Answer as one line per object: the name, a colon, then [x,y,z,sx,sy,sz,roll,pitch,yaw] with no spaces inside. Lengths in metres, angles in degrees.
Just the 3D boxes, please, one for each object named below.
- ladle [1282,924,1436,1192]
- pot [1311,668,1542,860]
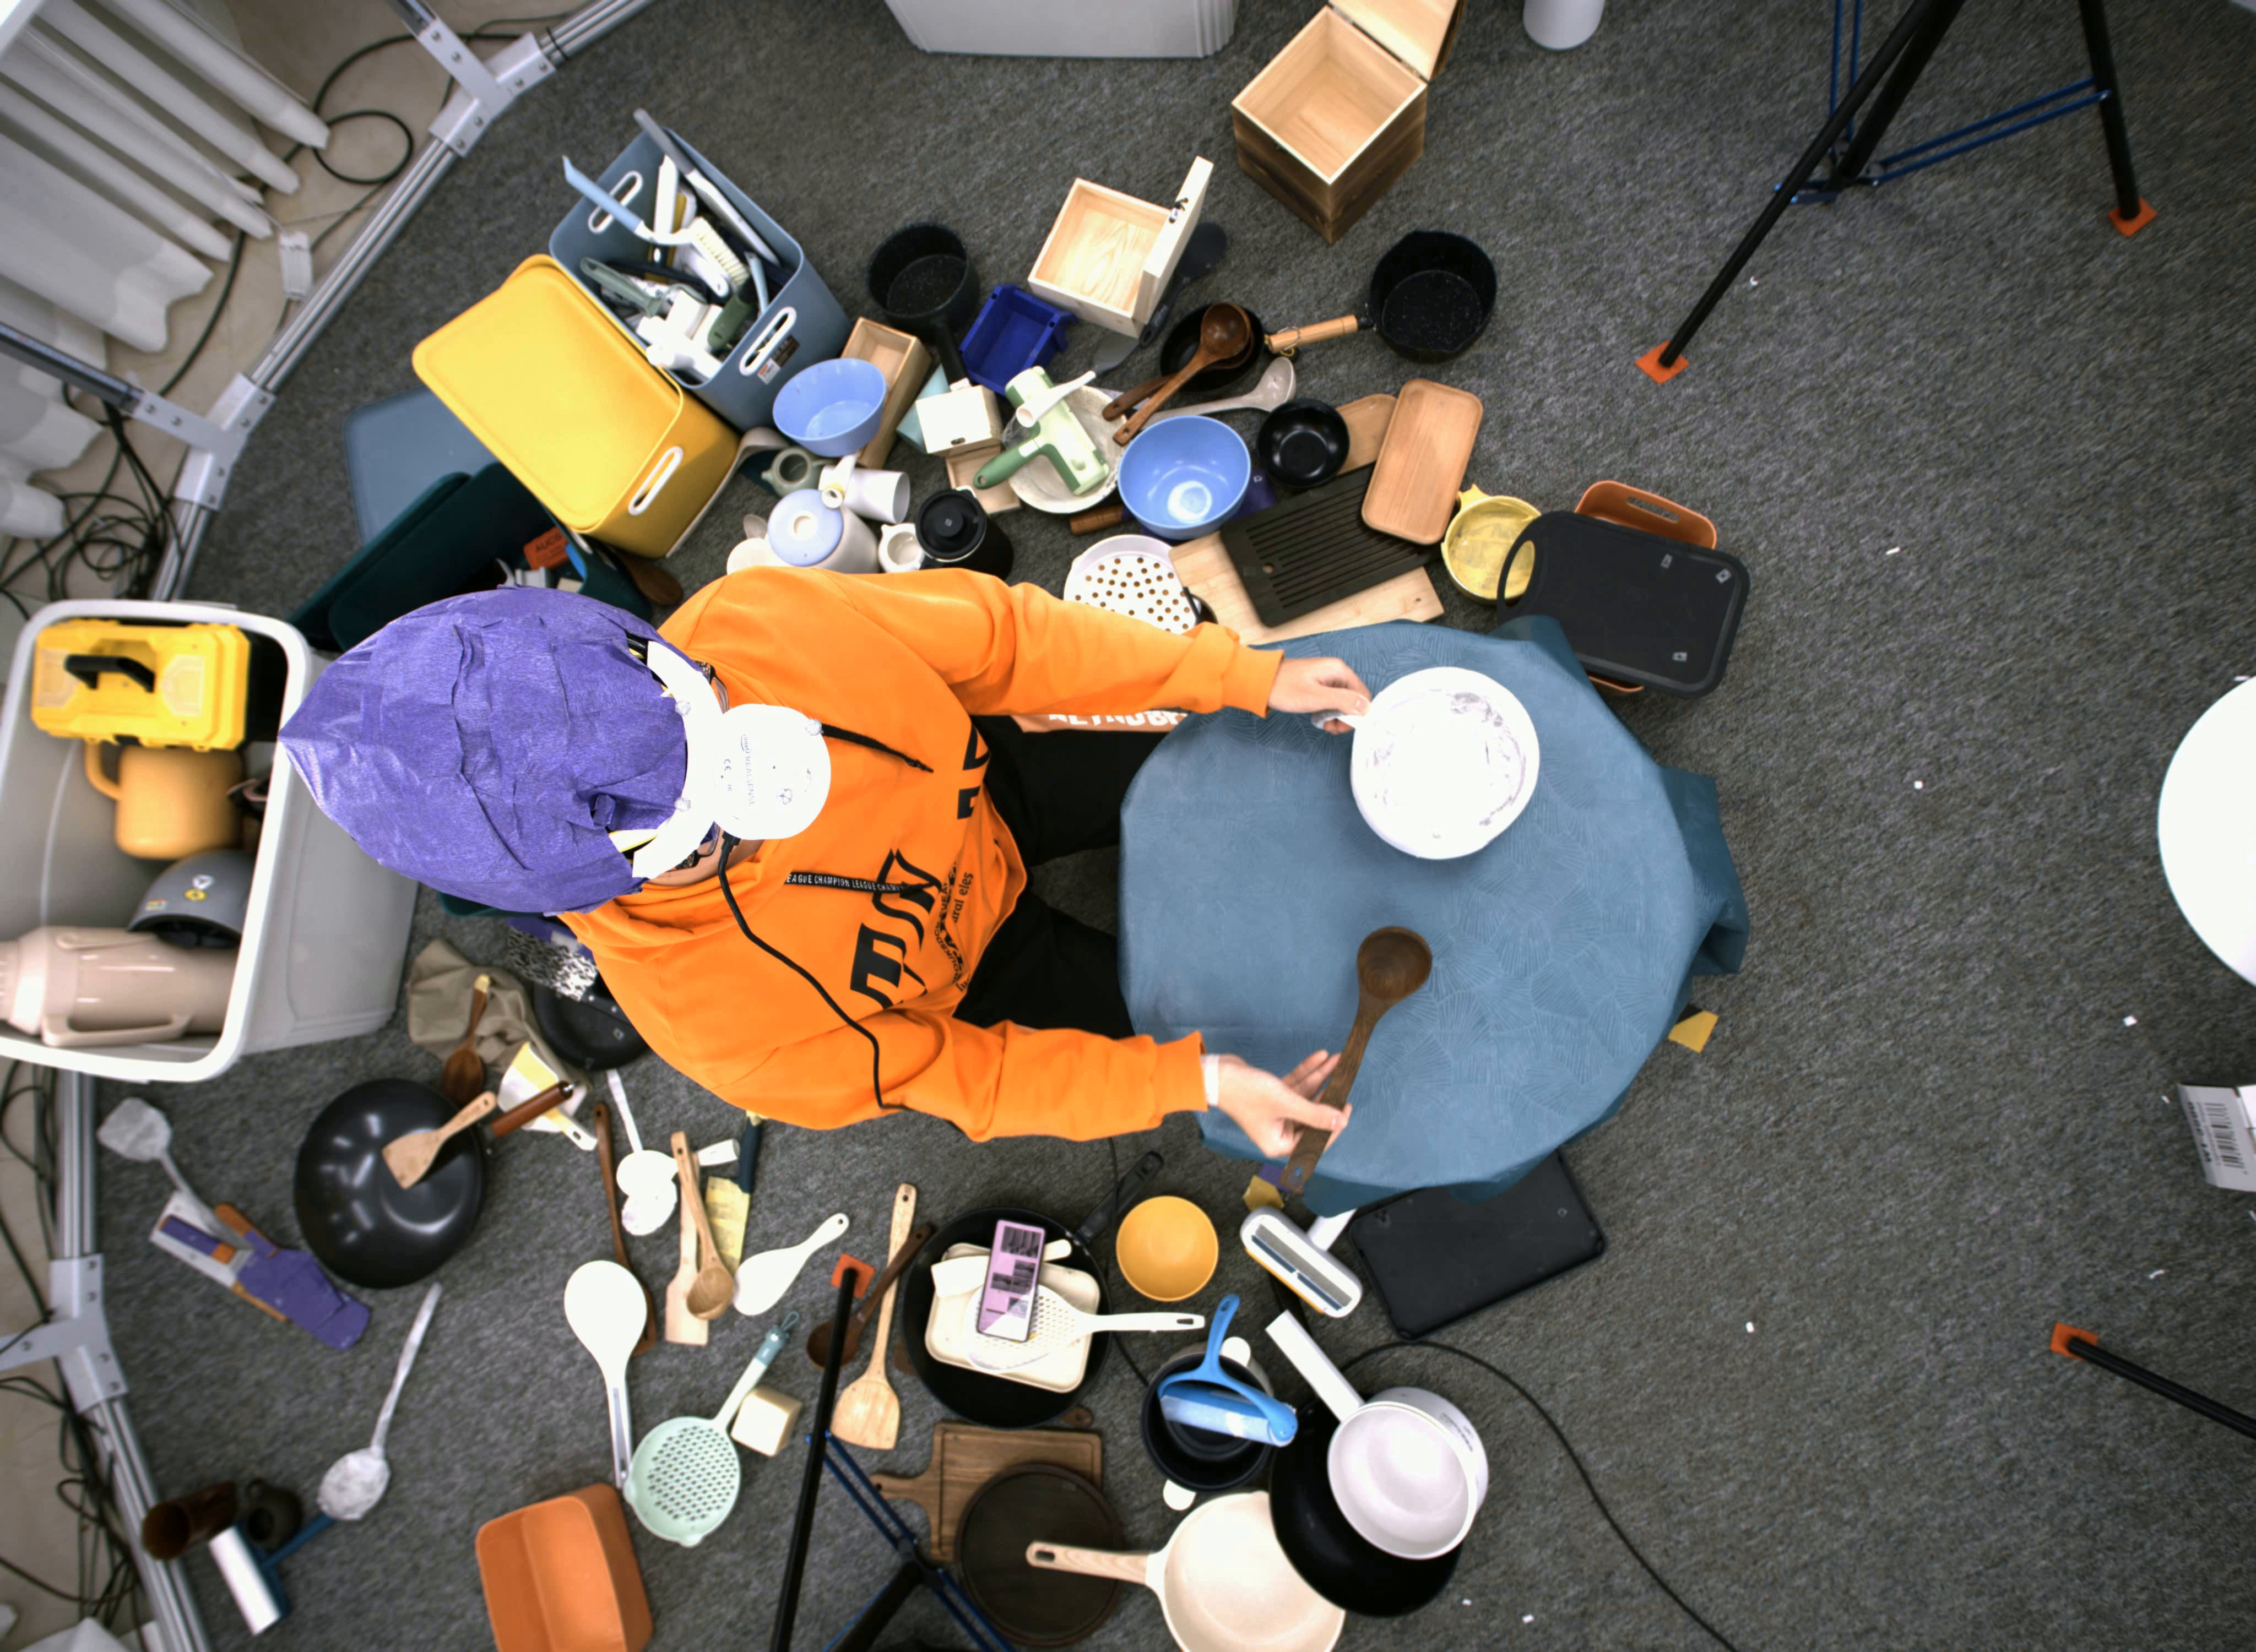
ladle: [0.219,0.220,1.338,0.076,0.072,0.269,26,72,7]
pot: [0.291,-0.072,1.384,0.233,0.137,0.178,29,89,10]
